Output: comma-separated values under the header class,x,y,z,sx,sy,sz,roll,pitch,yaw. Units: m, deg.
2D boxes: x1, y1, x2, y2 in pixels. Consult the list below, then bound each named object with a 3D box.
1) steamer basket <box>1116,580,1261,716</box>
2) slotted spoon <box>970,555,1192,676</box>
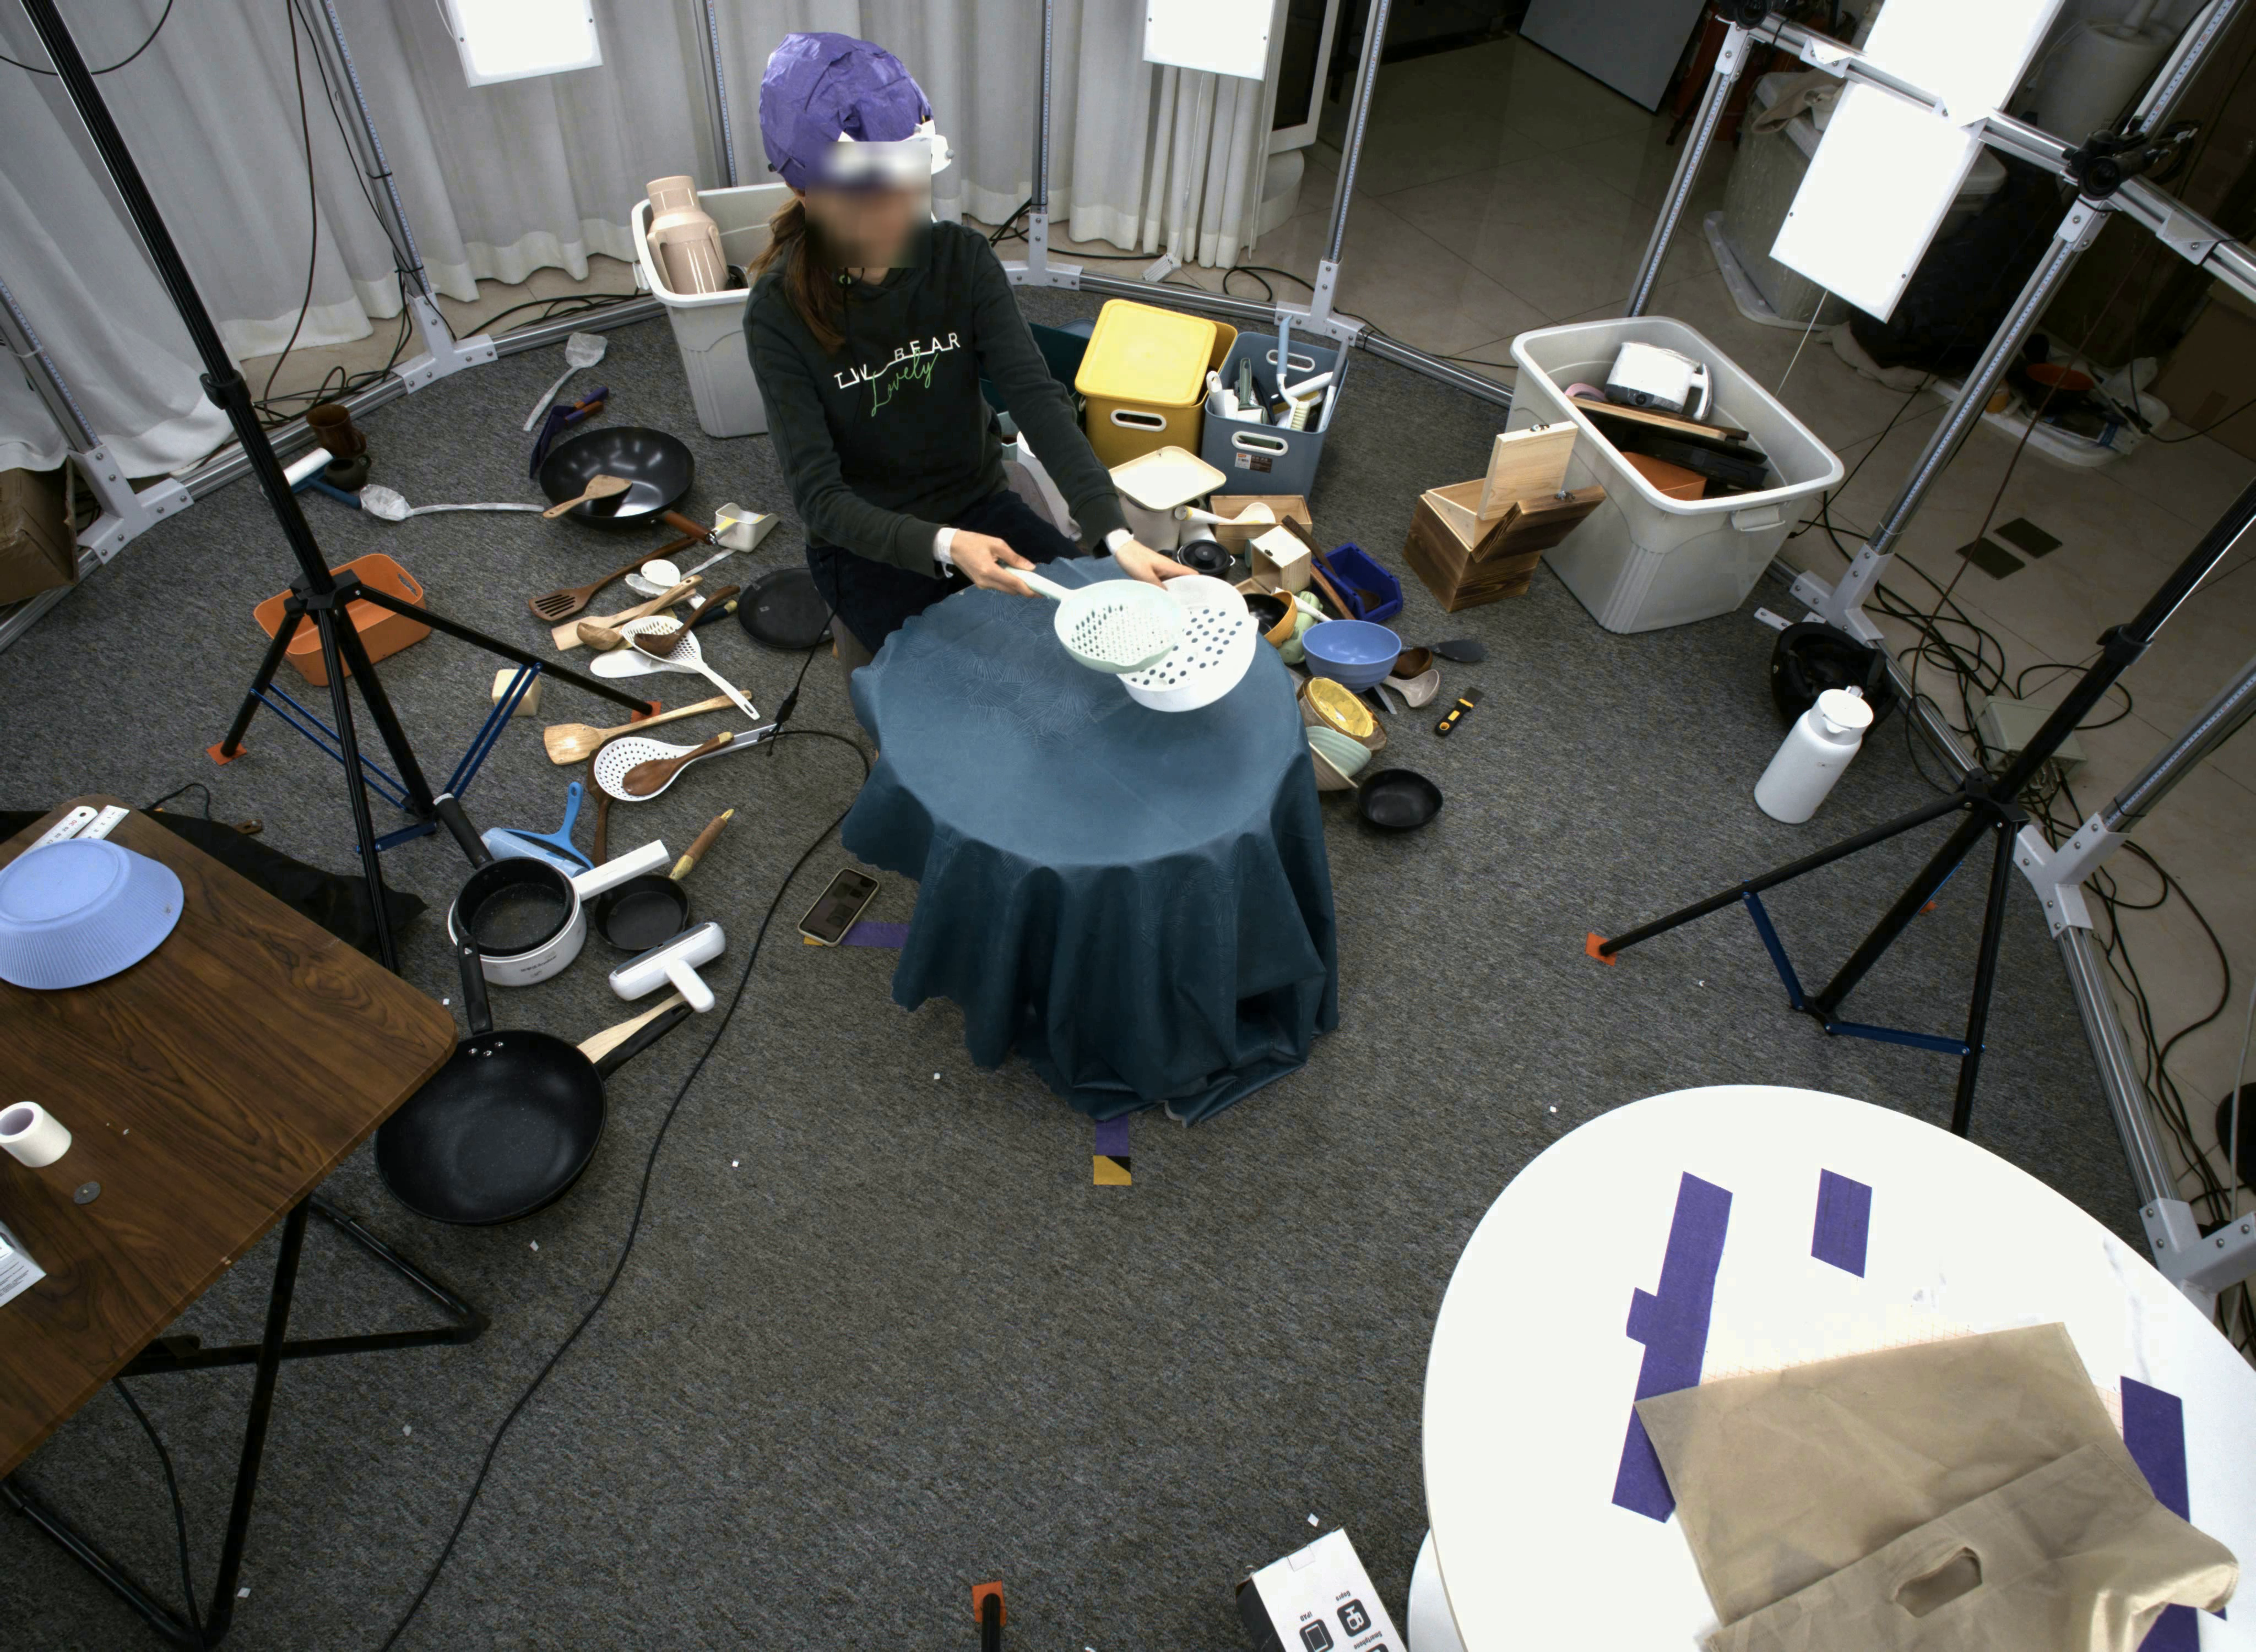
class,x,y,z,sx,sy,sz,roll,pitch,yaw
steamer basket,0.080,-0.245,1.767,0.231,0.067,0.206,3,56,27
slotted spoon,-0.083,-0.306,1.756,0.363,0.073,0.171,35,55,22
